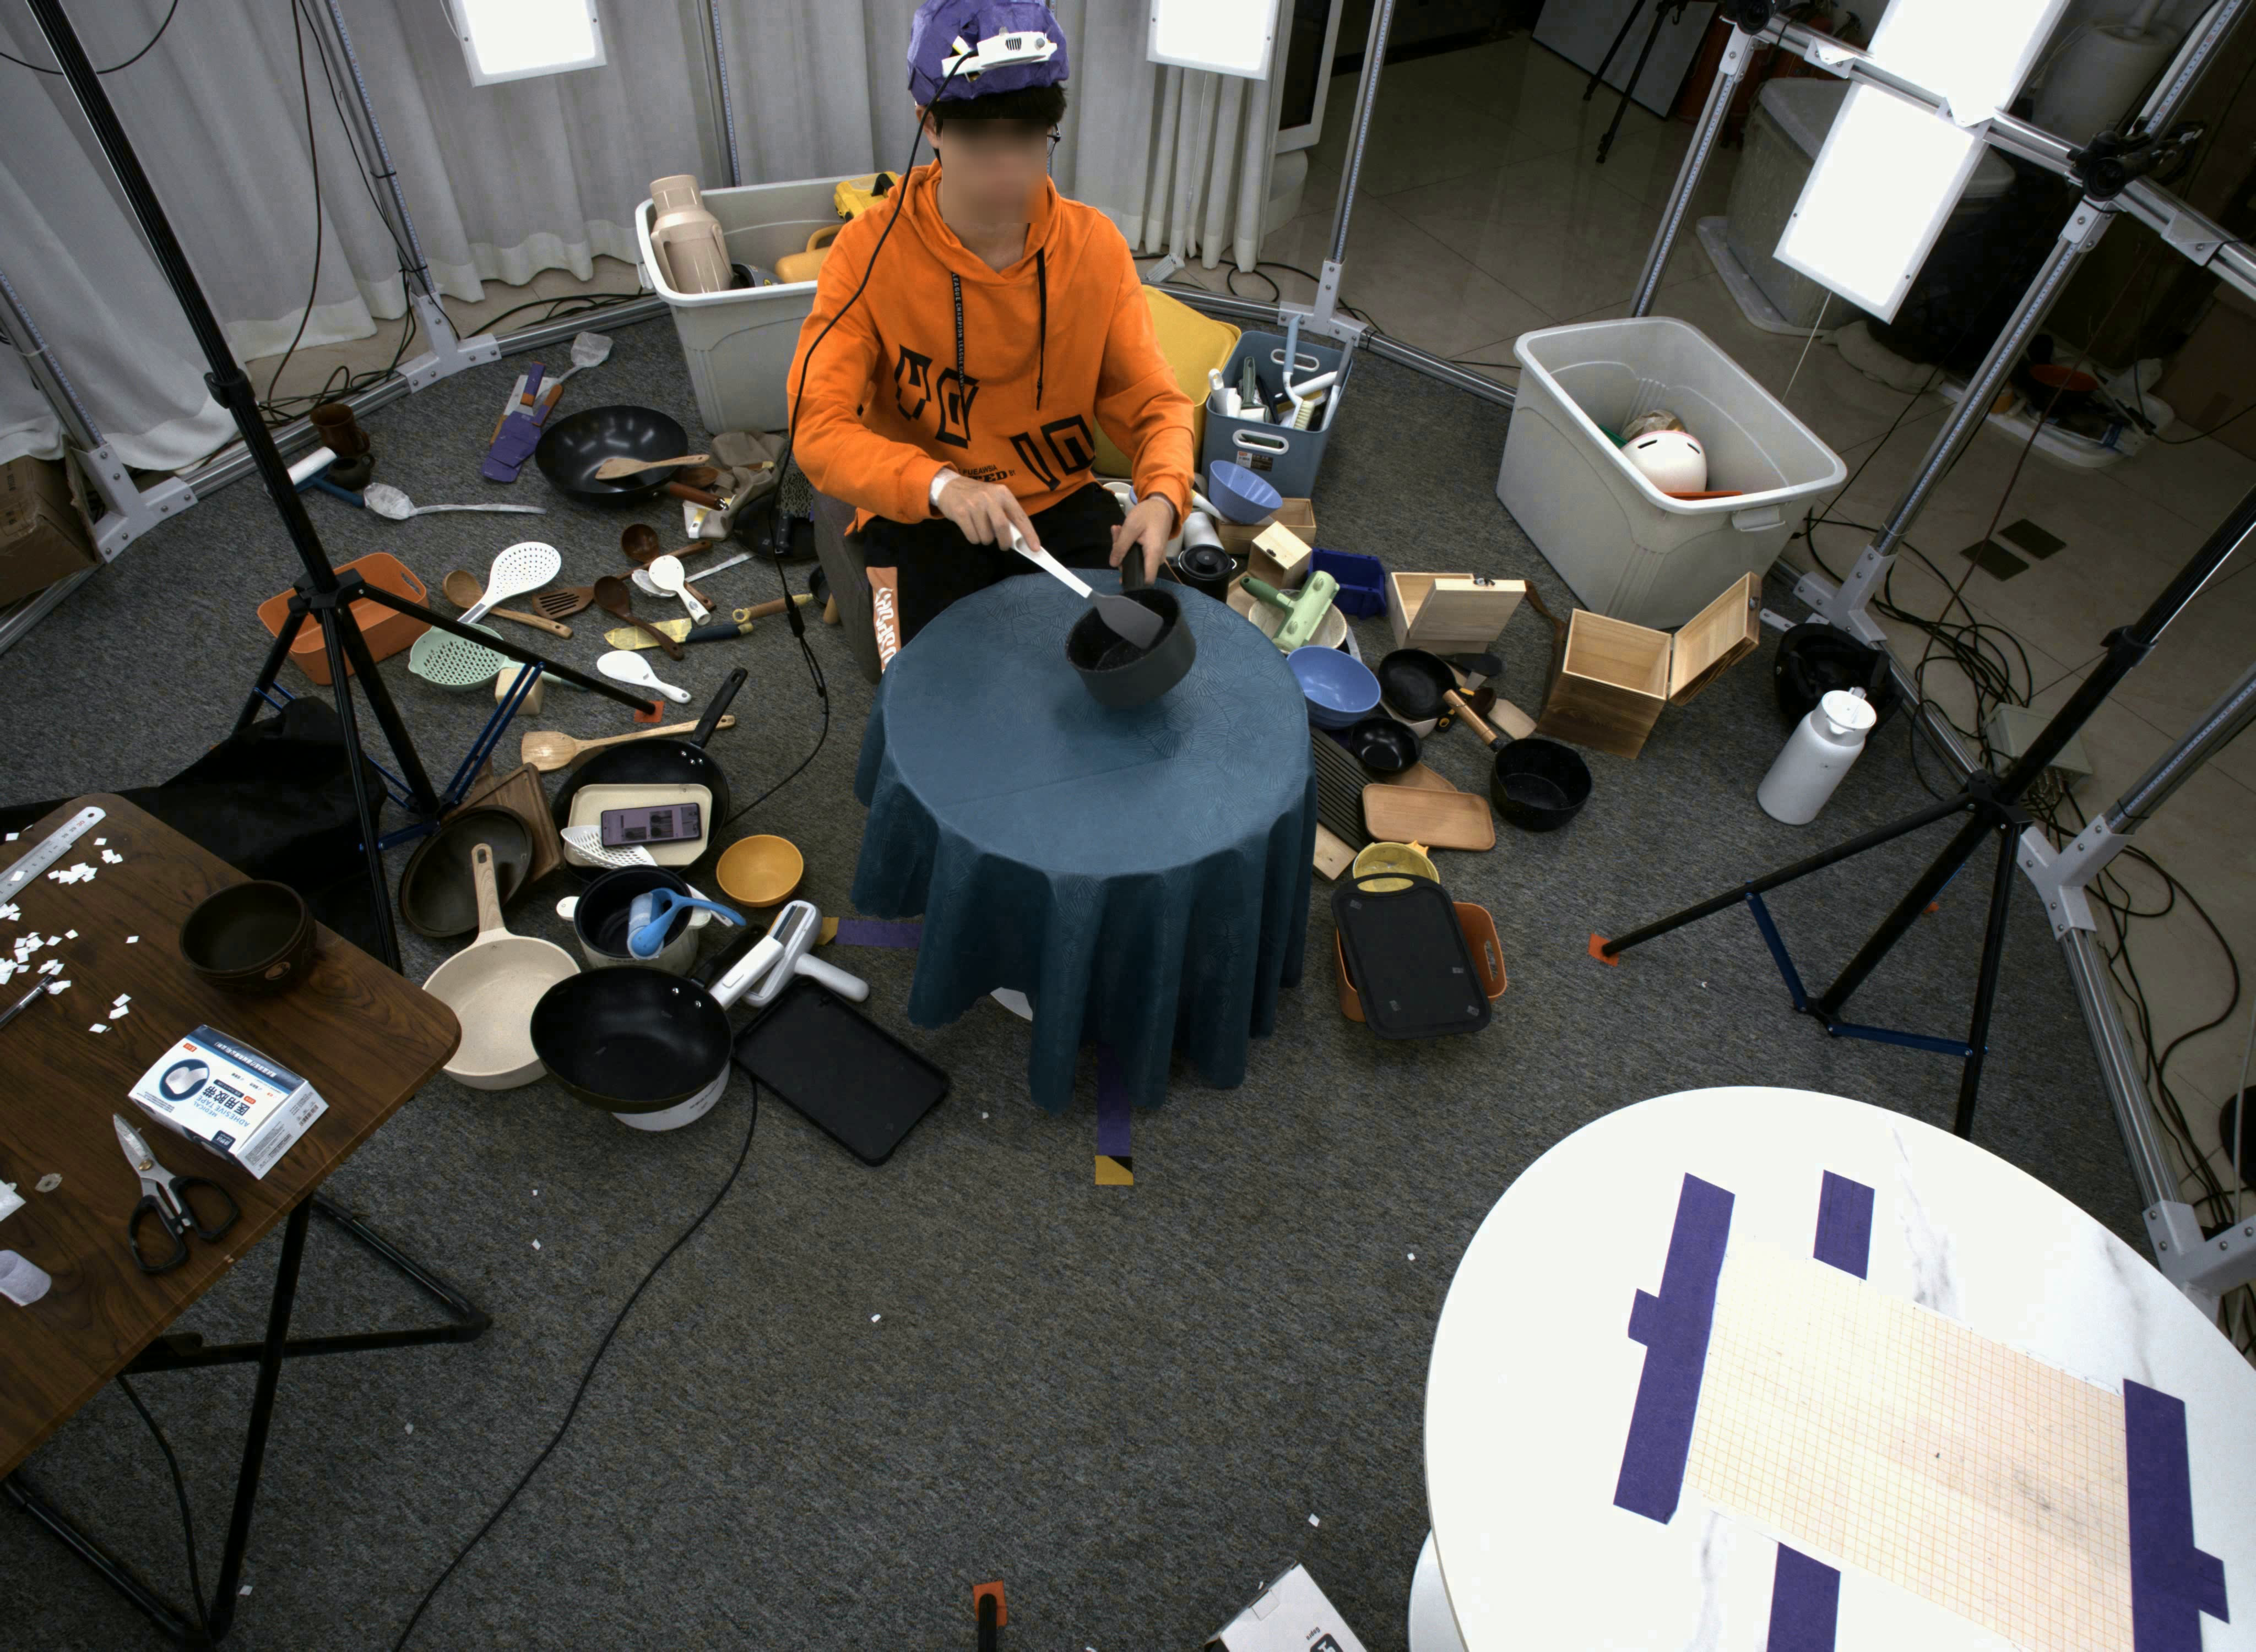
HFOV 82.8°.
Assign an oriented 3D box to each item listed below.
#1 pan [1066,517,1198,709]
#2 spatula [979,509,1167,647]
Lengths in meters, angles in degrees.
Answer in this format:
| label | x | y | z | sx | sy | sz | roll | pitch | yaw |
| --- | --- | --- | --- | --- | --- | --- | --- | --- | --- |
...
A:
| label | x | y | z | sx | sy | sz | roll | pitch | yaw |
| --- | --- | --- | --- | --- | --- | --- | --- | --- | --- |
| pan | 0.015 | -0.305 | 1.817 | 0.172 | 0.084 | 0.337 | -11 | 45 | 20 |
| spatula | -0.078 | -0.340 | 1.752 | 0.288 | 0.058 | 0.032 | 34 | 18 | 6 |
